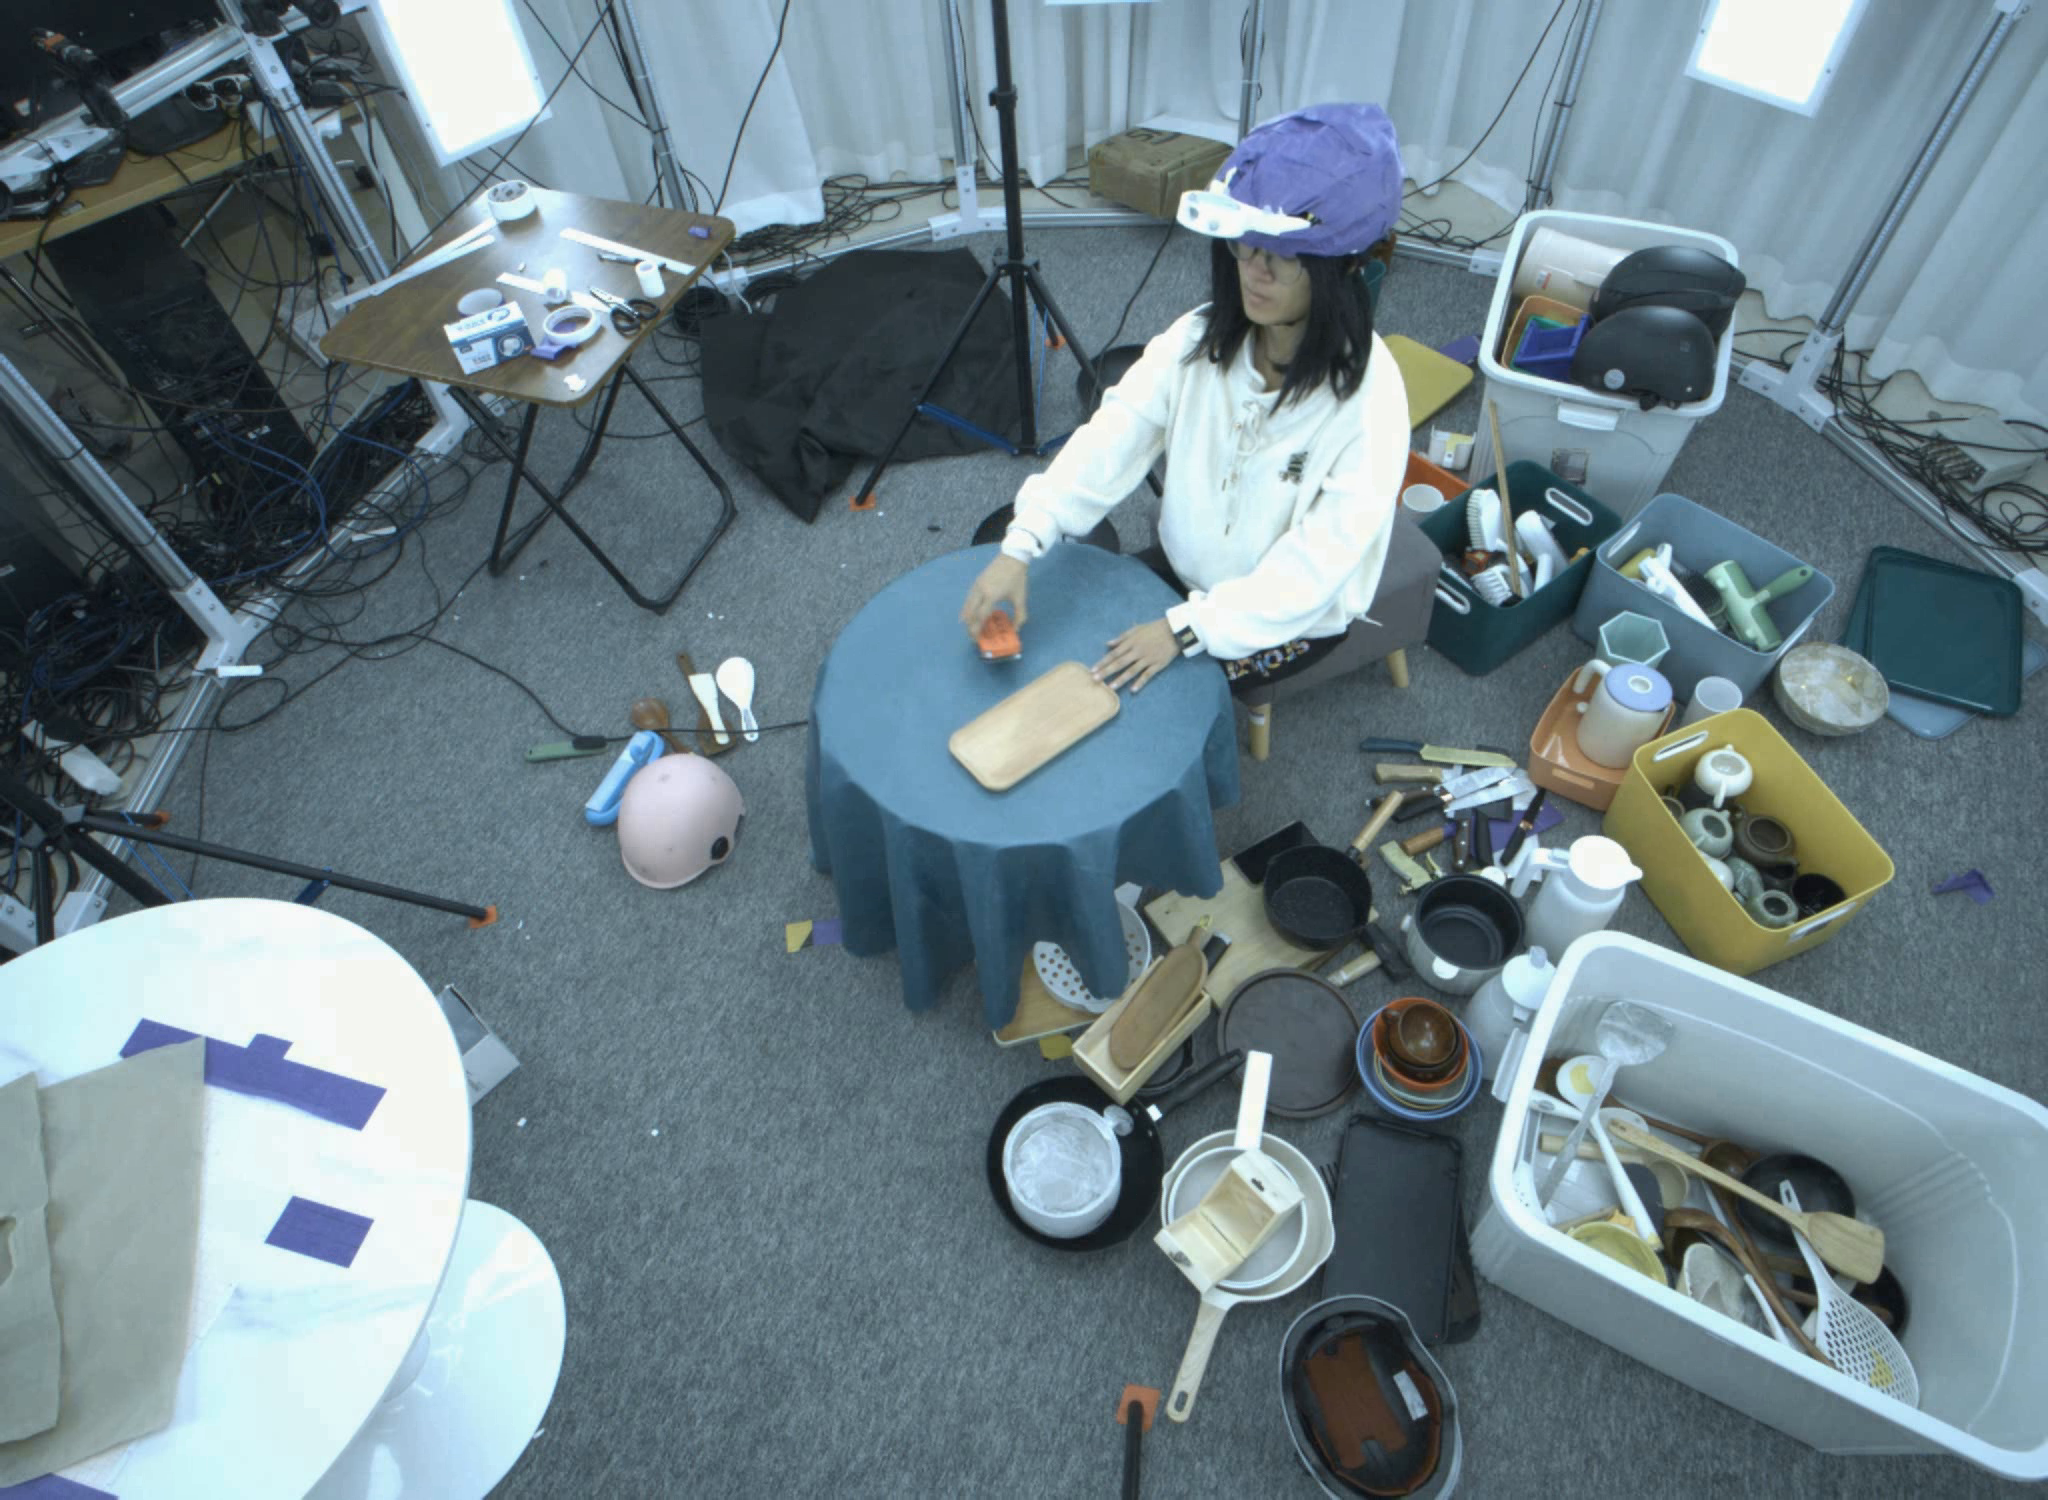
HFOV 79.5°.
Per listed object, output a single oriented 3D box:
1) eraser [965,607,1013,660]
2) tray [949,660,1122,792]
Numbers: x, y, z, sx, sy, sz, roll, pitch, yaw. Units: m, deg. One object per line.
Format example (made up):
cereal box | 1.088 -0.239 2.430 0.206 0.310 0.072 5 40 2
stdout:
eraser | -0.054 -0.178 1.869 0.059 0.023 0.106 -9 41 -10
tray | 0.018 -0.037 1.802 0.253 0.023 0.128 -33 63 -20
